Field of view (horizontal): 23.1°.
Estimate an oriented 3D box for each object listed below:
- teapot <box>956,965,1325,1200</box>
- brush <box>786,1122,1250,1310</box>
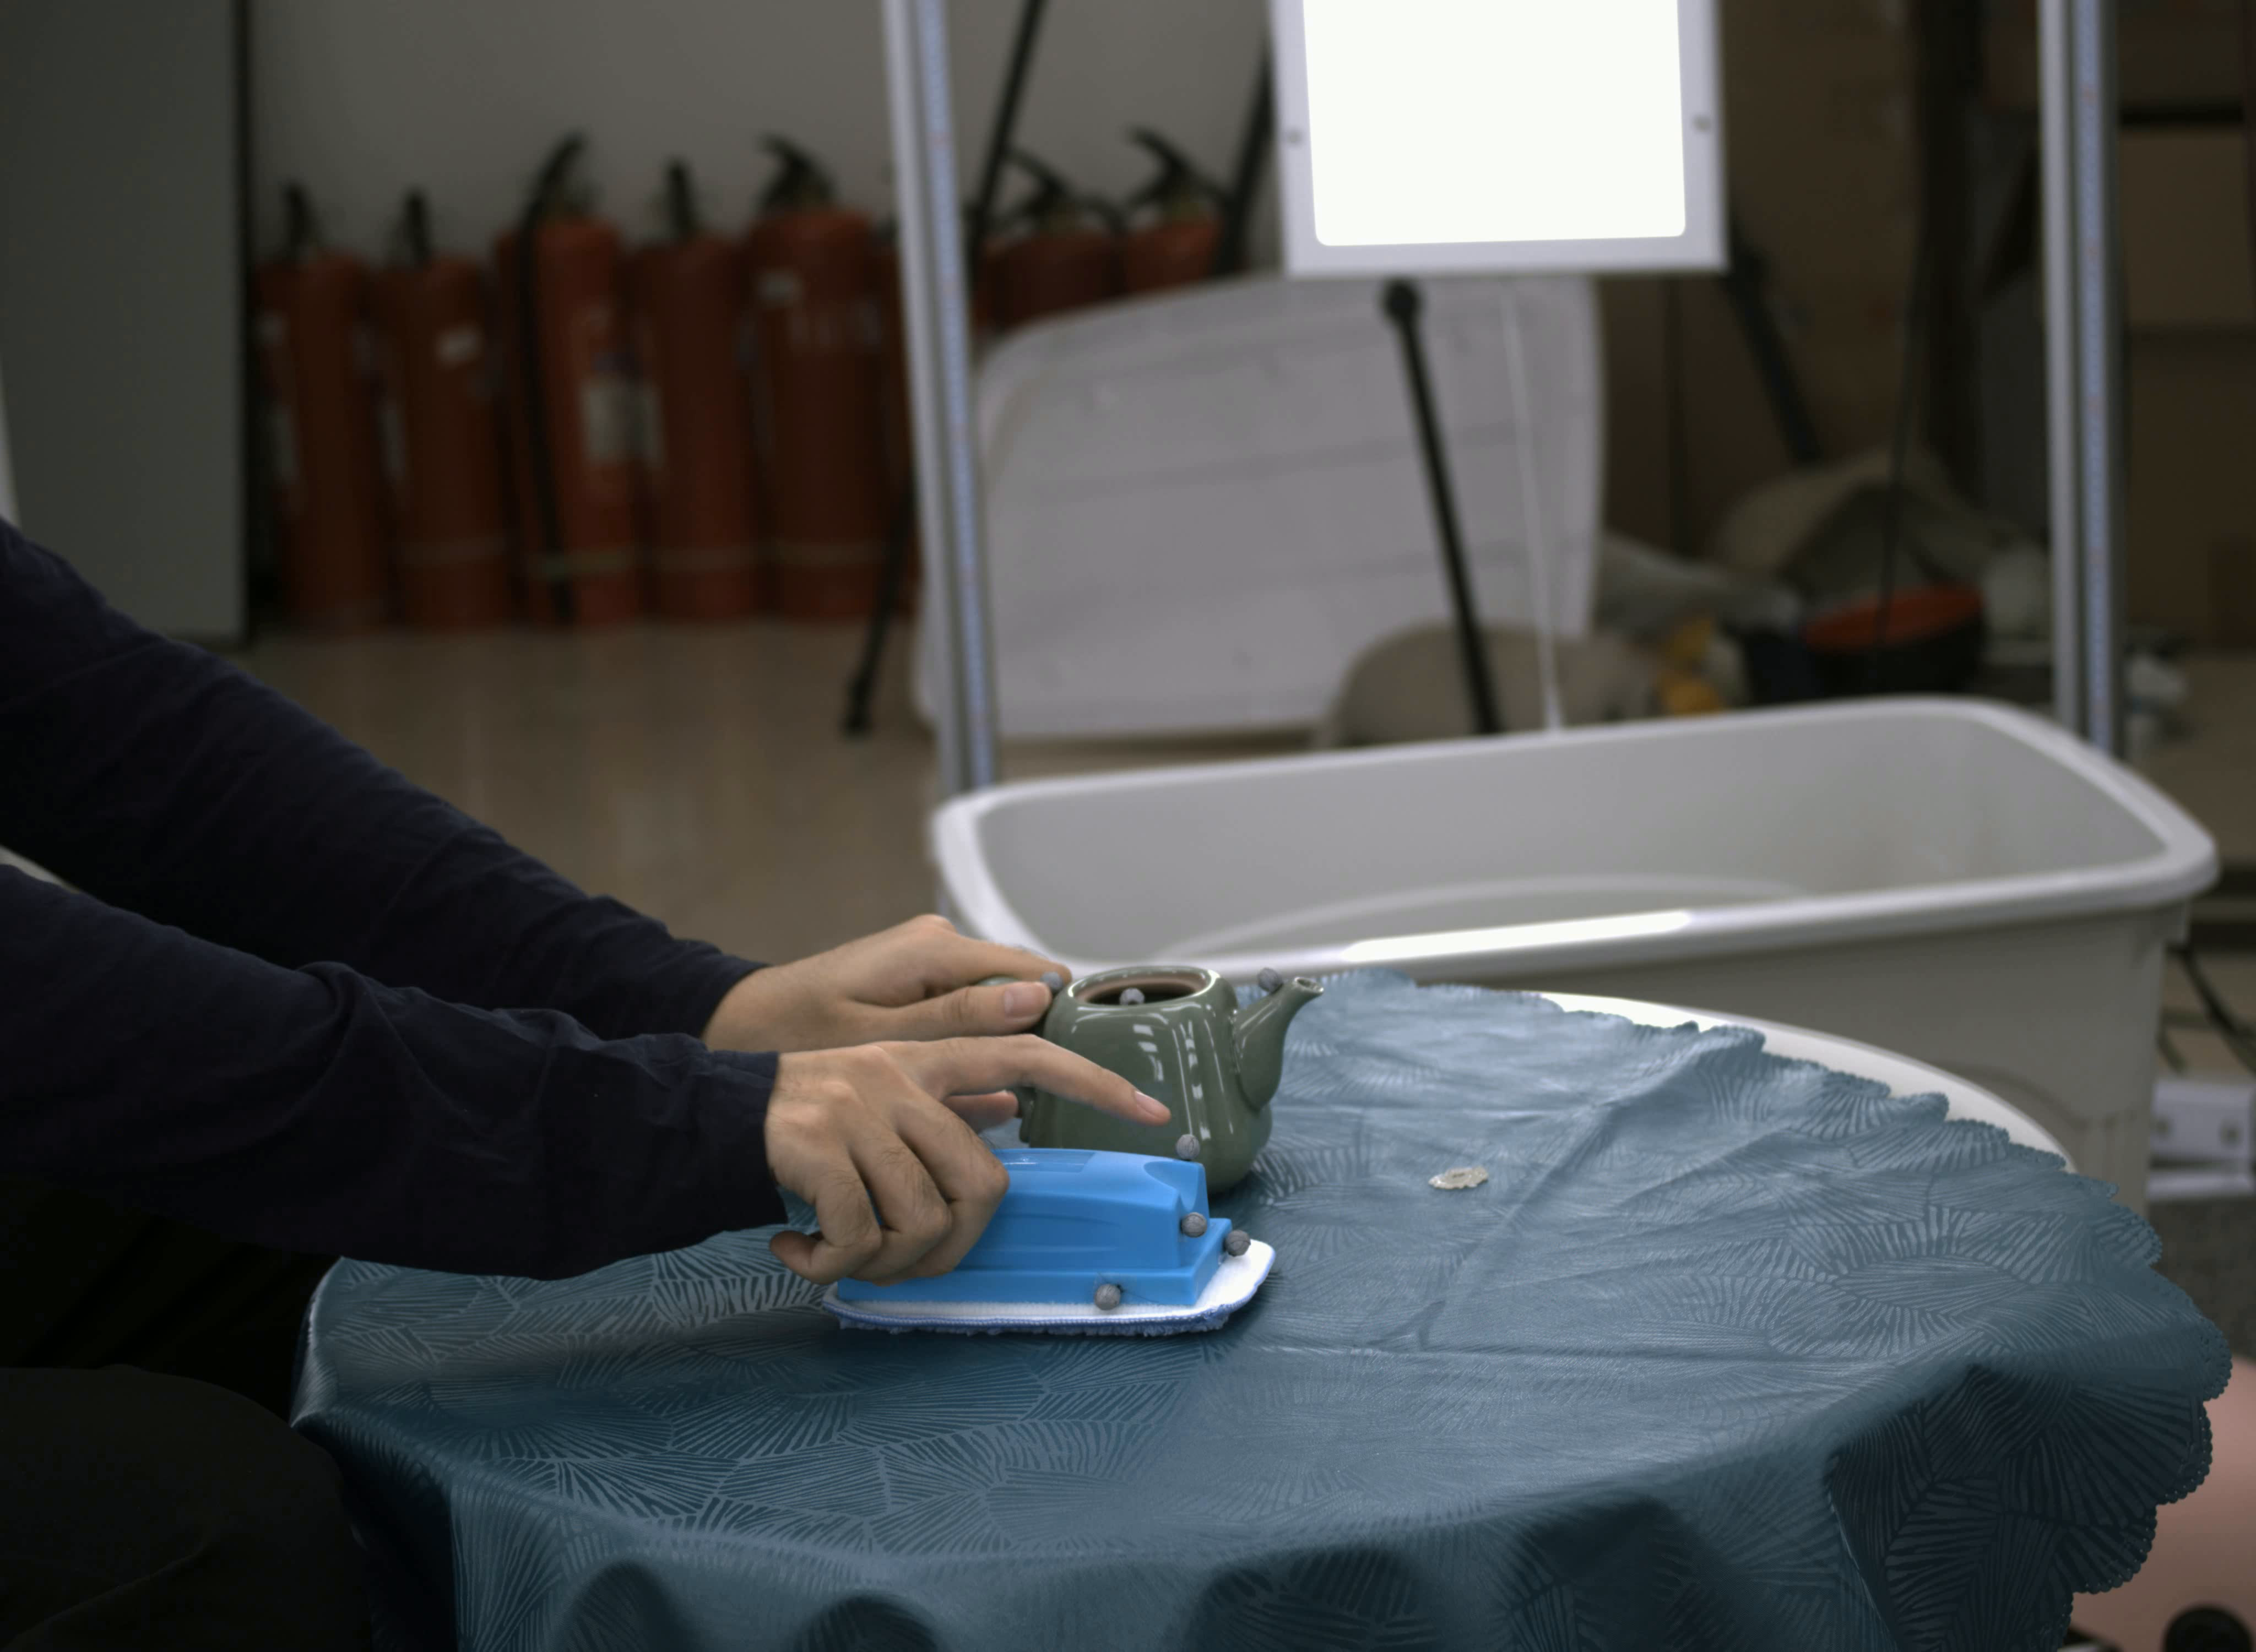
[{"bbox_3d":[0.007,0.088,1.903,0.134,0.075,0.078,-2,14,16],"label":"teapot"},{"bbox_3d":[-0.035,0.126,1.784,0.145,0.056,0.082,2,12,18],"label":"brush"}]
